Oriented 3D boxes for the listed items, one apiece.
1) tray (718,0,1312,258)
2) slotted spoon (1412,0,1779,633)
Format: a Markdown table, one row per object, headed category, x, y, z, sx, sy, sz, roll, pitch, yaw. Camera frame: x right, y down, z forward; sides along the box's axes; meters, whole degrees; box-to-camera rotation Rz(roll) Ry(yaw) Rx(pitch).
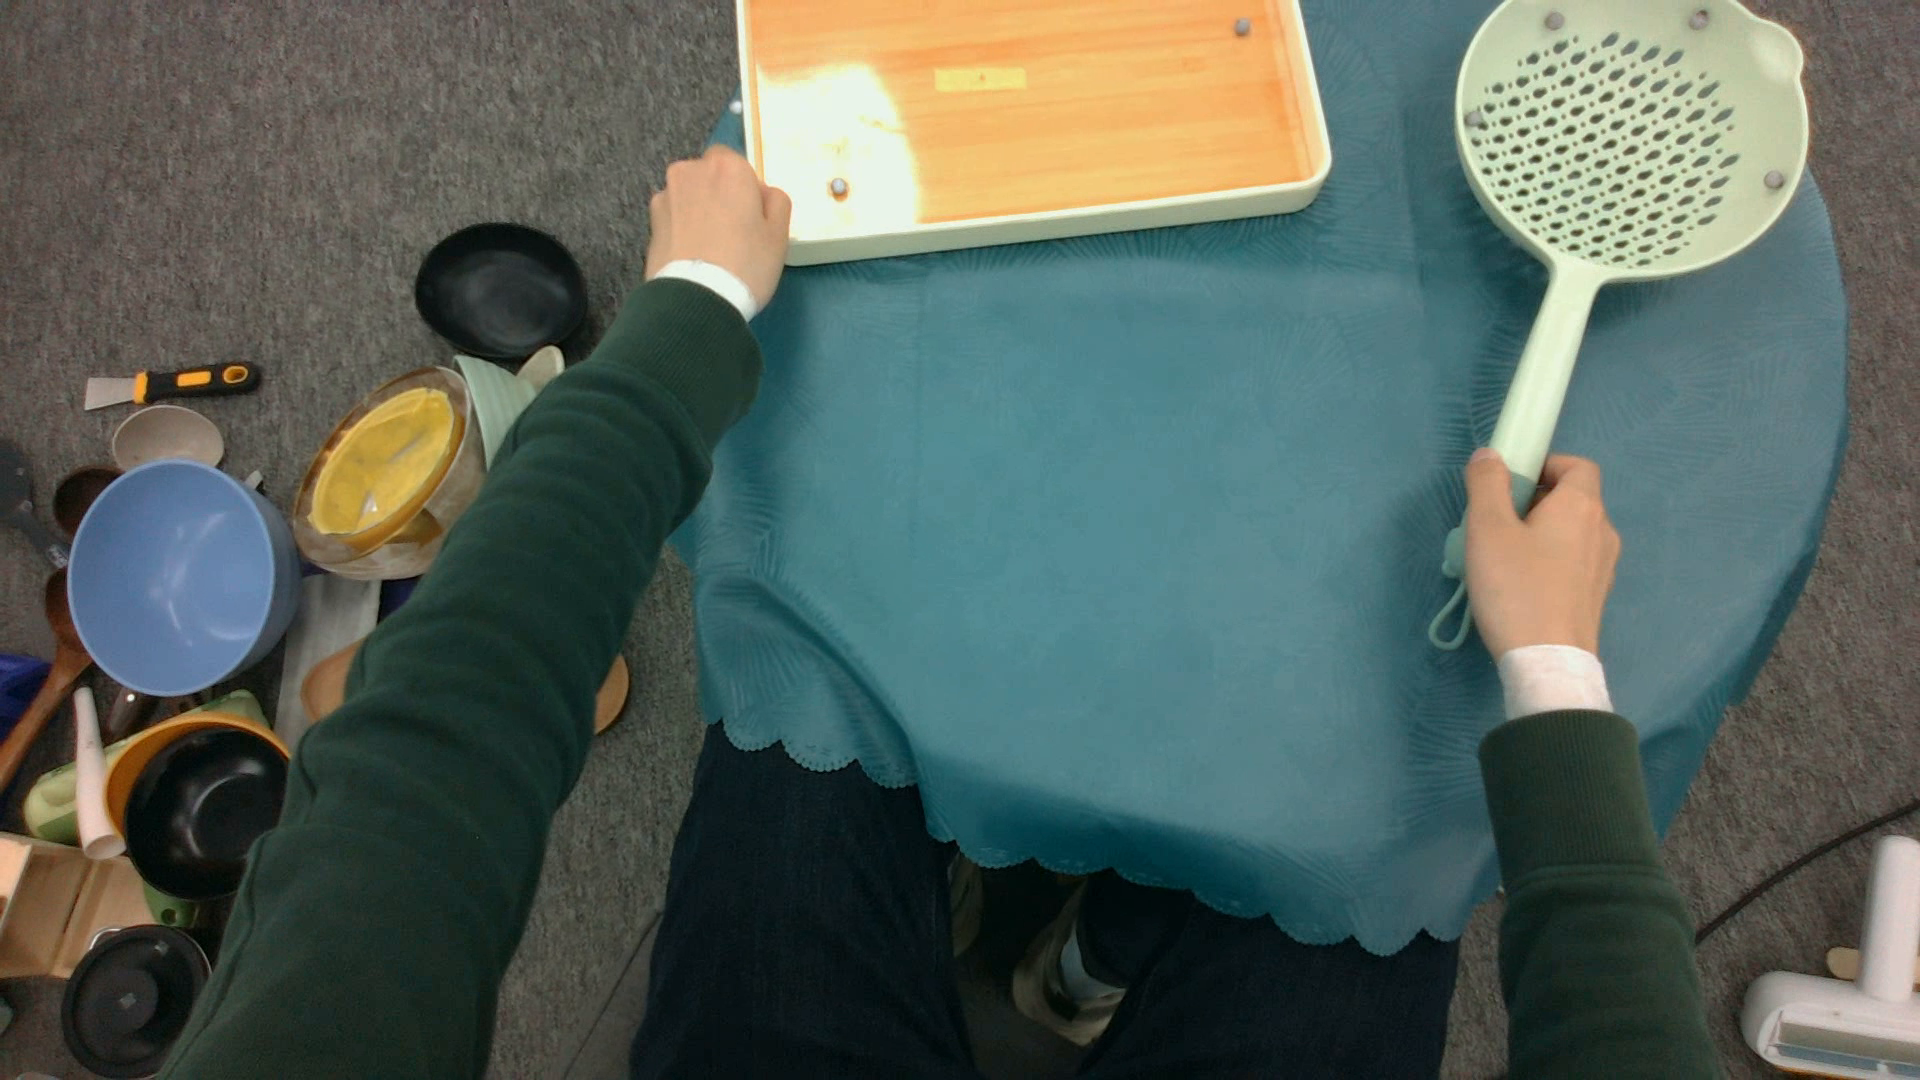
| category | x | y | z | sx | sy | sz | roll | pitch | yaw |
| --- | --- | --- | --- | --- | --- | --- | --- | --- | --- |
| tray | 0.024 | -0.254 | 0.741 | 0.300 | 0.027 | 0.192 | -6 | 71 | -2 |
| slotted spoon | 0.285 | -0.124 | 0.672 | 0.169 | 0.075 | 0.360 | 20 | 69 | 7 |
